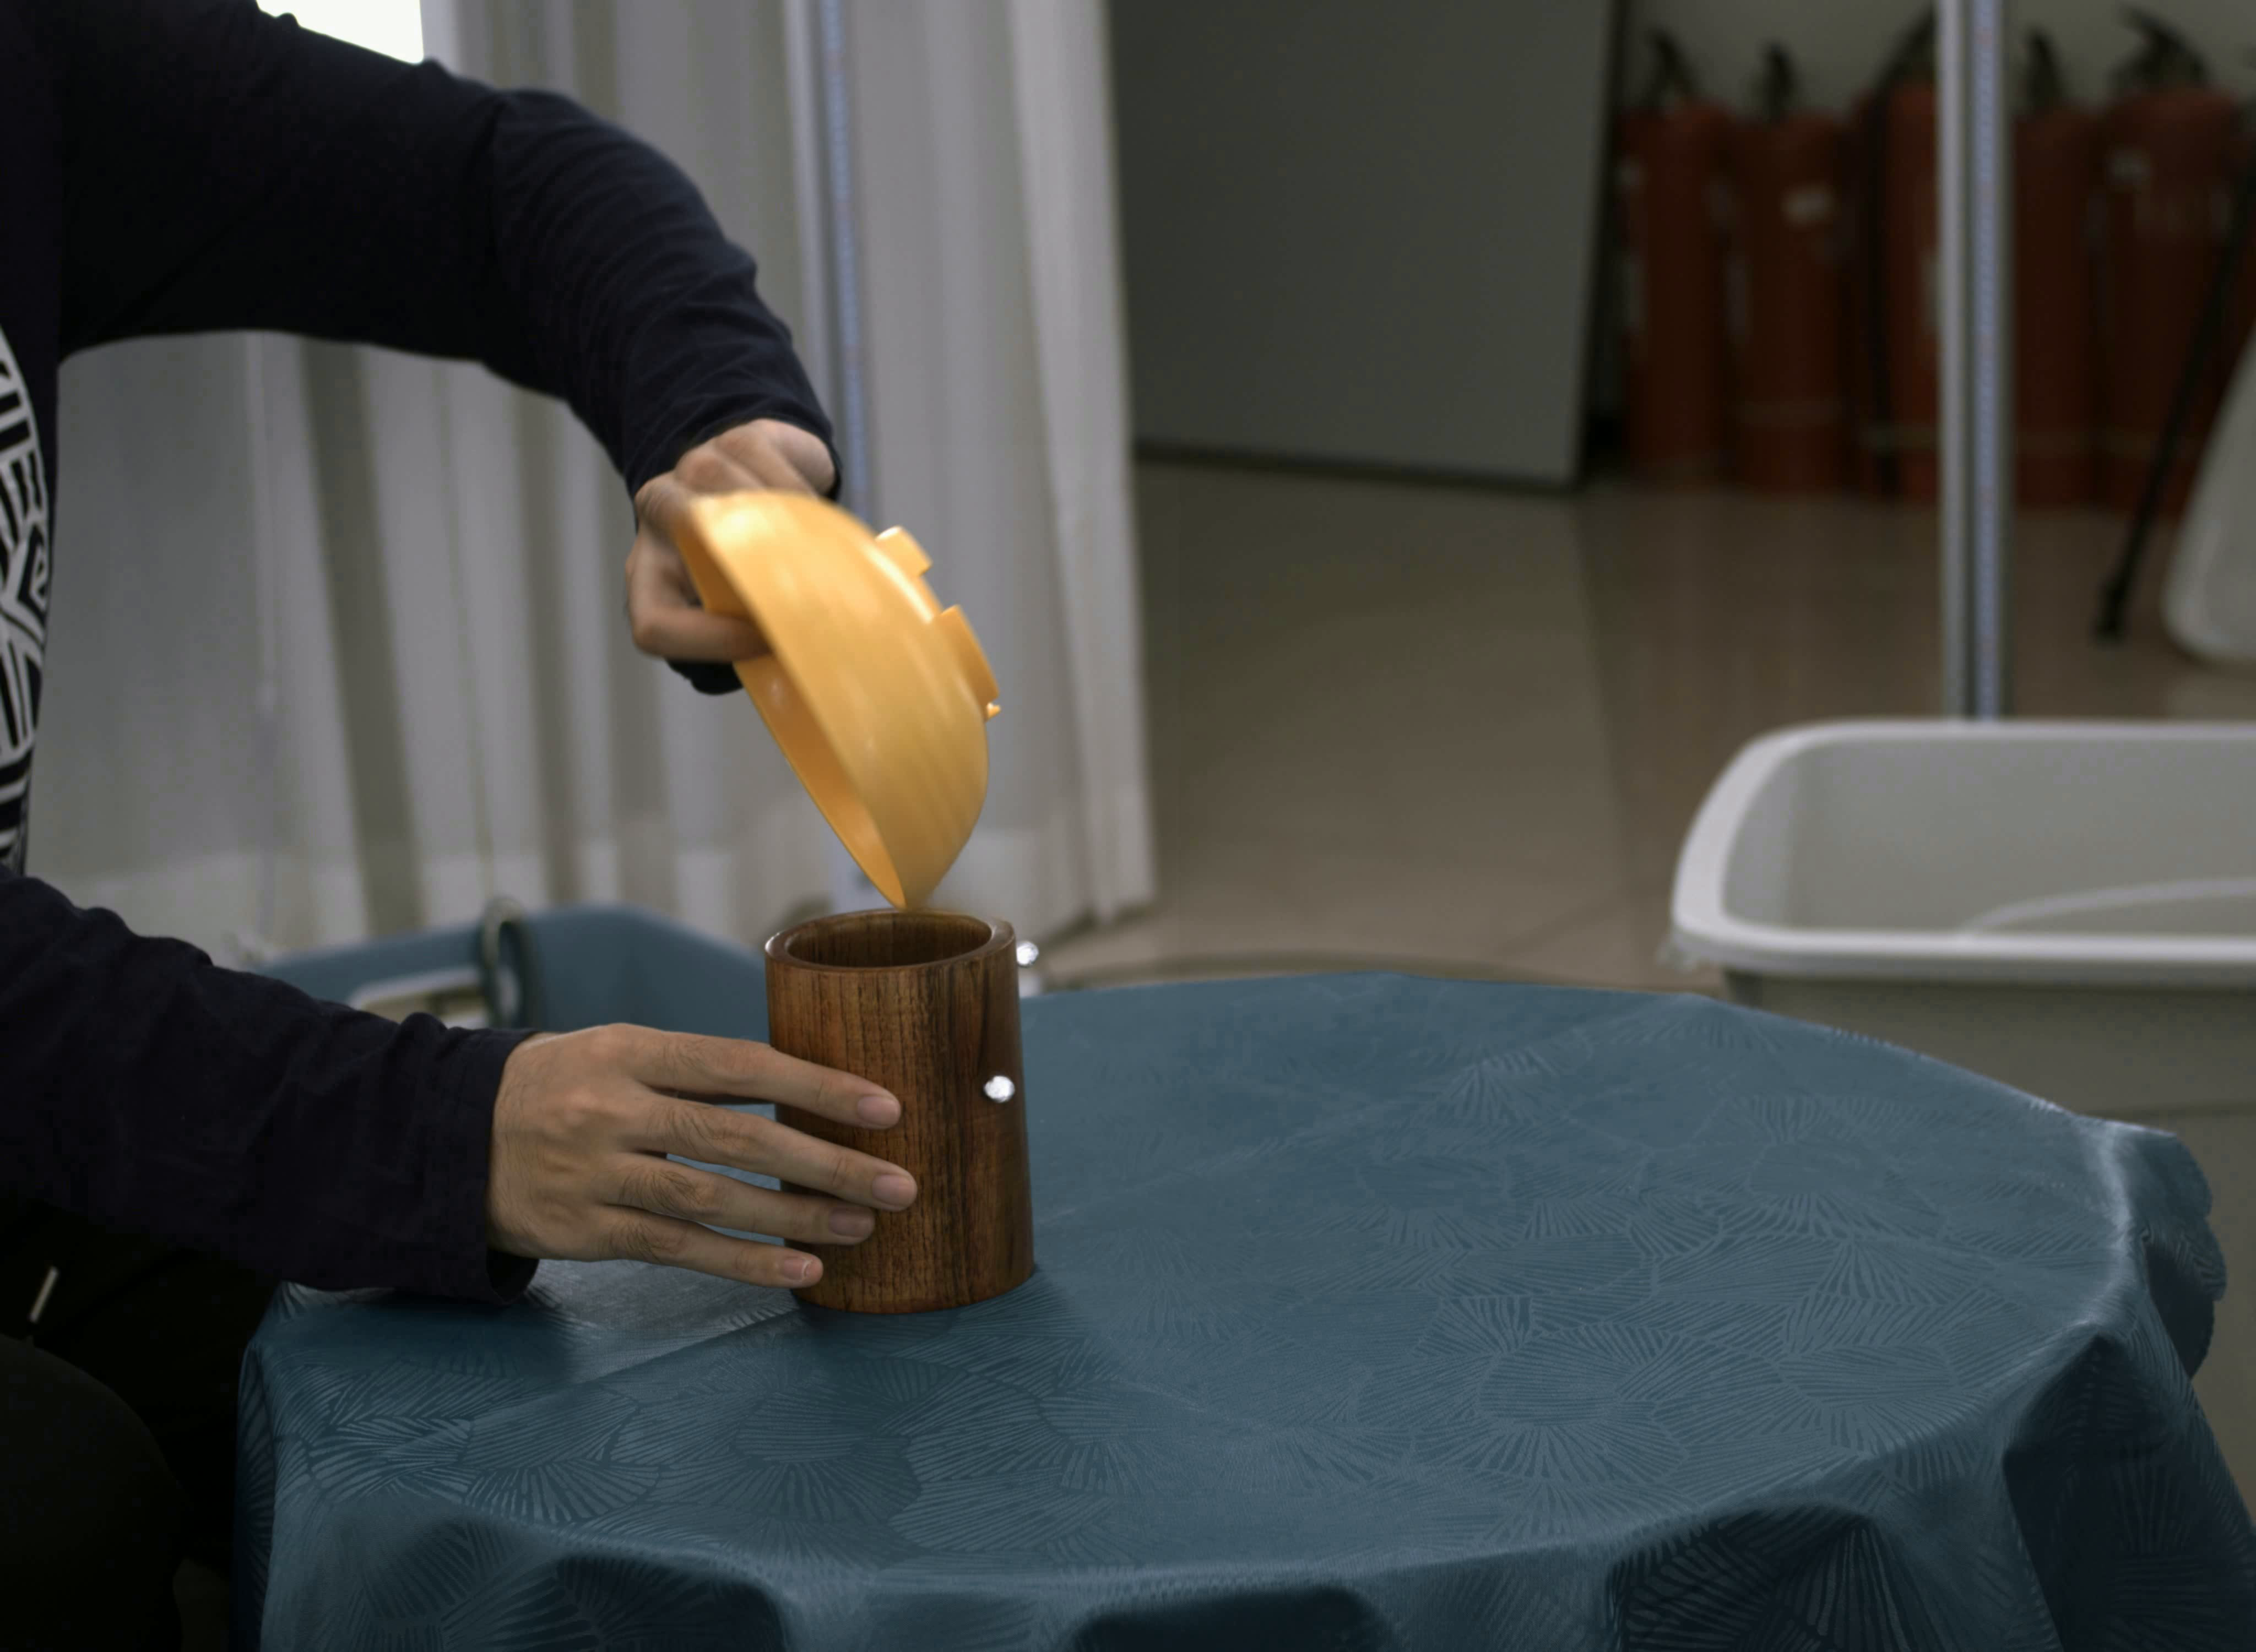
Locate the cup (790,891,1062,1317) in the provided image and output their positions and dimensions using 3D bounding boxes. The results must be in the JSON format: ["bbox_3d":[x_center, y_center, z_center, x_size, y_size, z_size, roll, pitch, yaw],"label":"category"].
[{"bbox_3d":[-0.063,0.086,1.690,0.086,0.120,0.088,-2,10,-1],"label":"cup"}]

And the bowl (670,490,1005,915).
[{"bbox_3d":[-0.079,-0.049,1.658,0.059,0.145,0.146,-32,17,-4],"label":"bowl"}]
